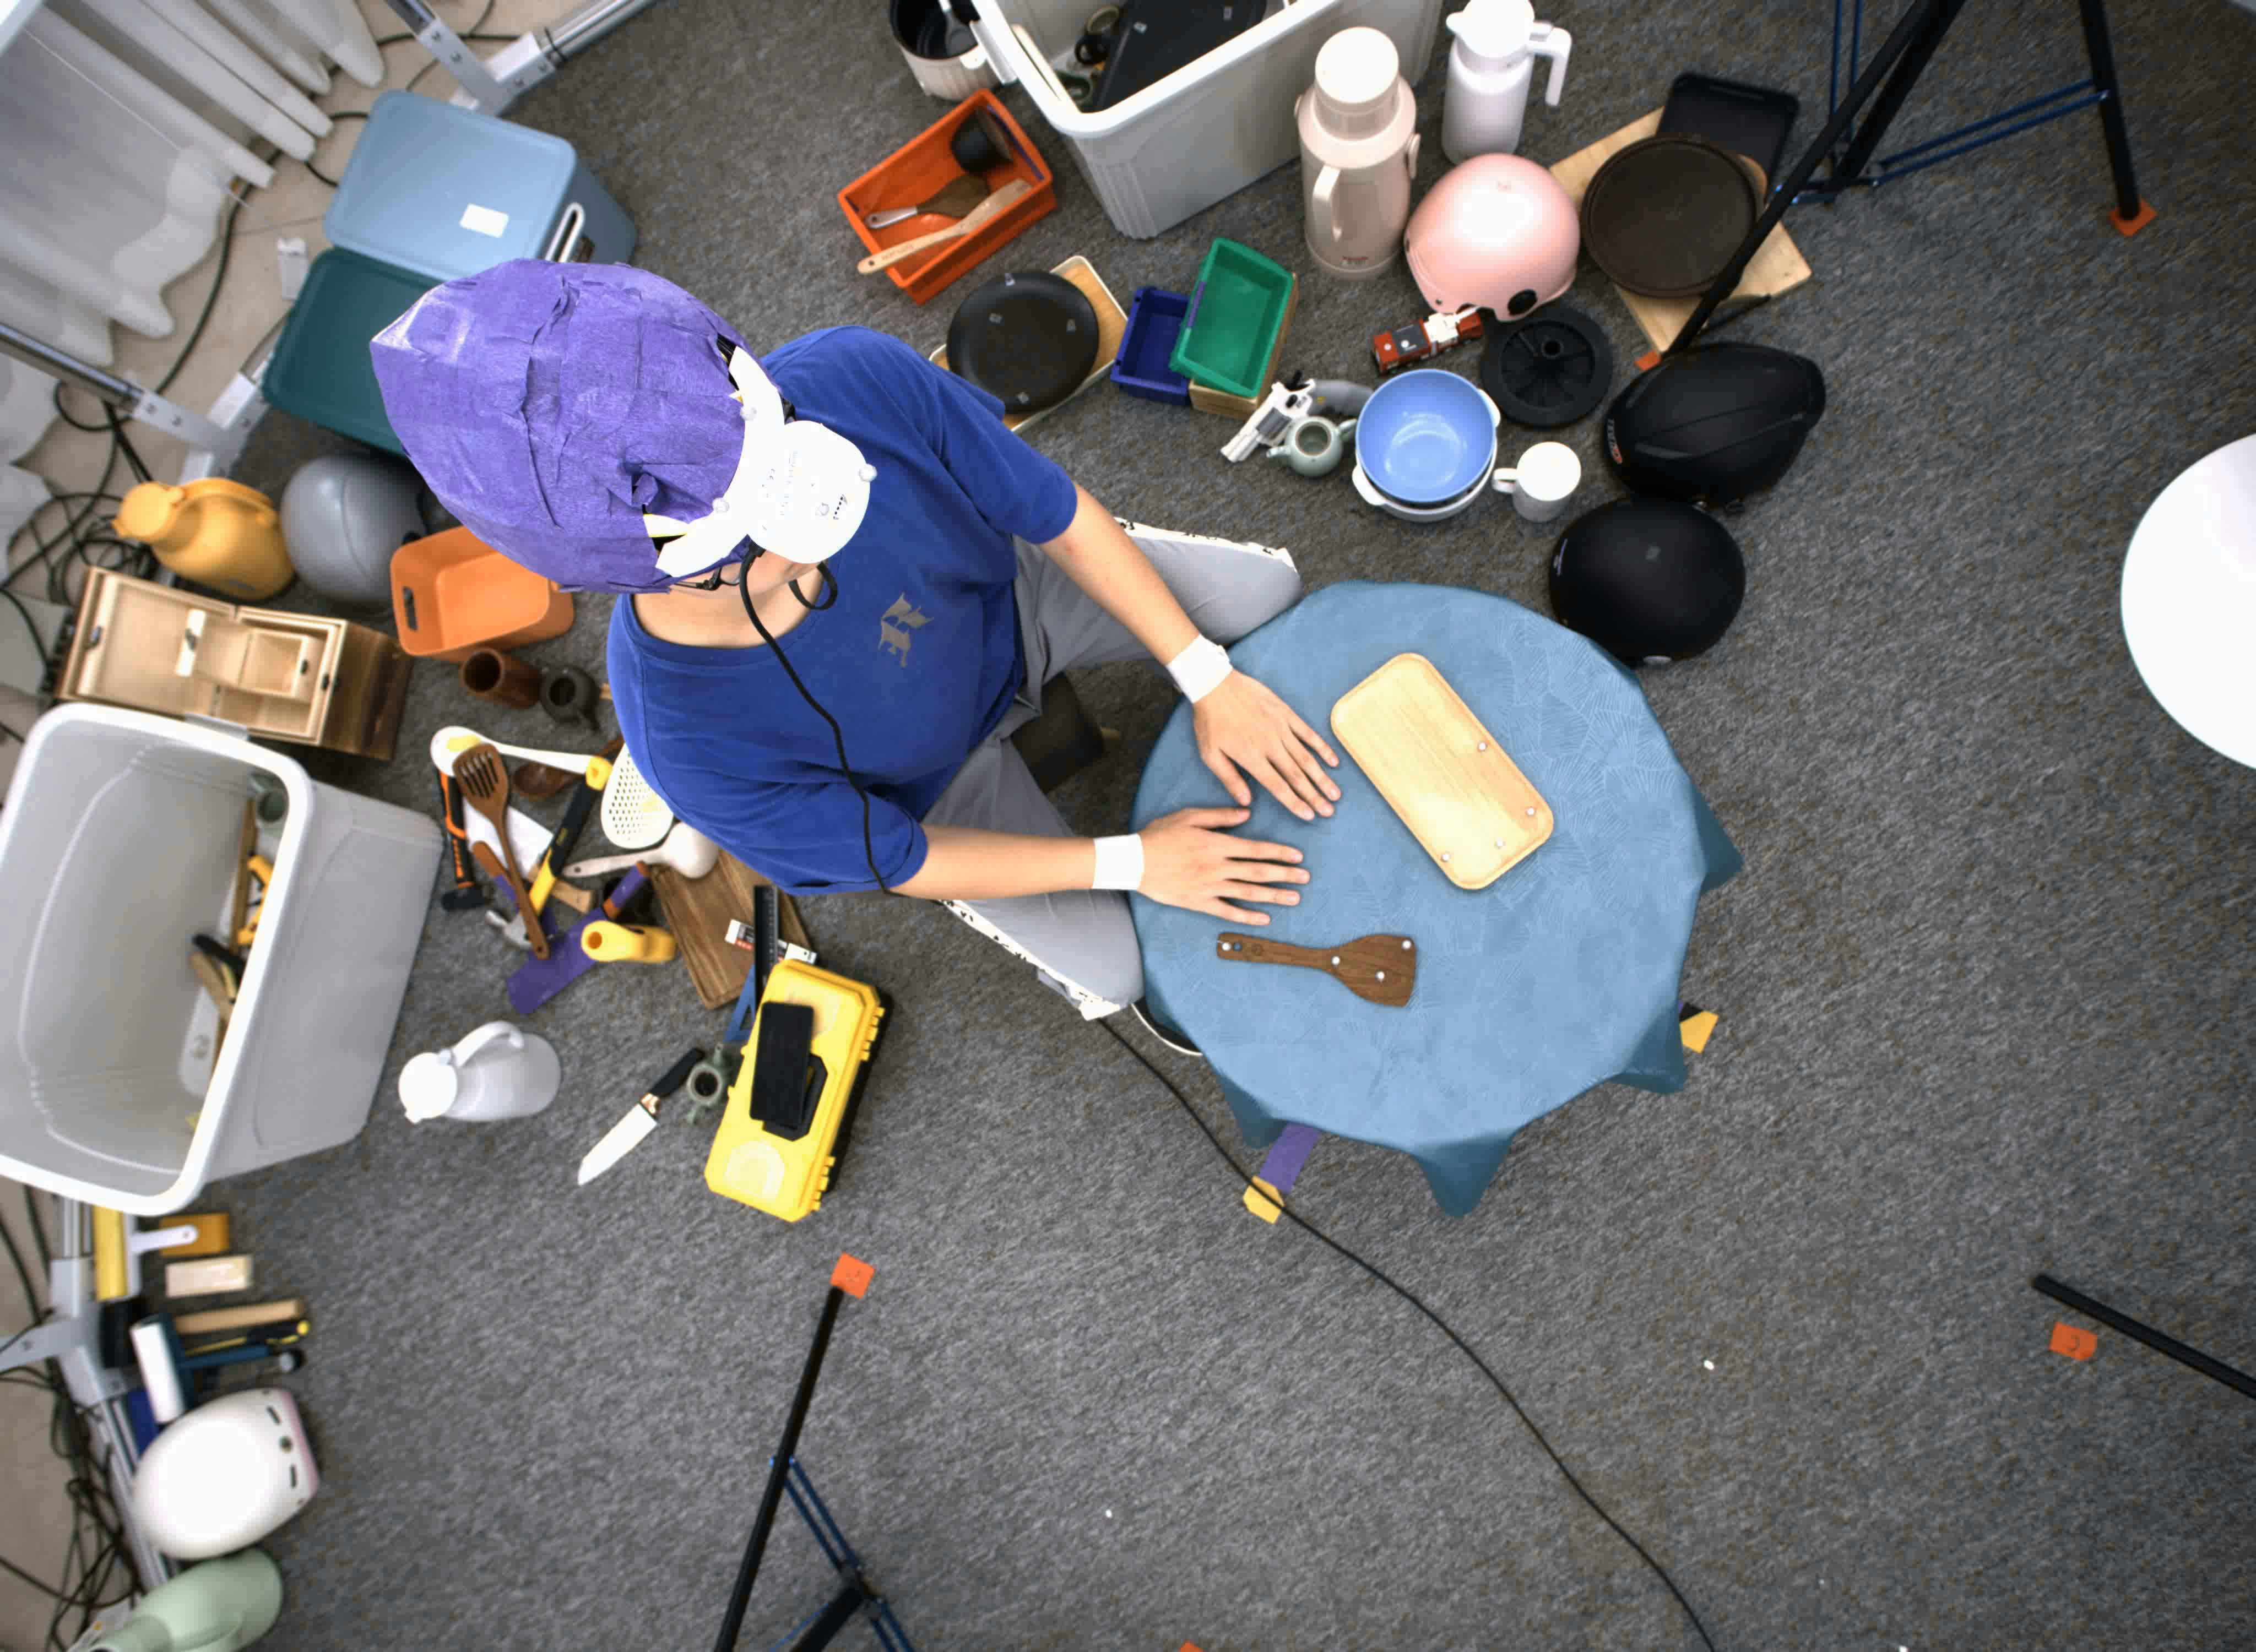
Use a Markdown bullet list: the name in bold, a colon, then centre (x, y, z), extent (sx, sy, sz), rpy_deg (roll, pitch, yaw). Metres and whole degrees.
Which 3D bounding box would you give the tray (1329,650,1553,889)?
- **tray**: centre (0.328, -0.062, 1.445), extent (0.131, 0.023, 0.249), rpy_deg (-37, 81, 4)

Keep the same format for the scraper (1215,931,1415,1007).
- **scraper**: centre (0.197, 0.139, 1.464), extent (0.212, 0.011, 0.075), rpy_deg (8, 87, 12)
